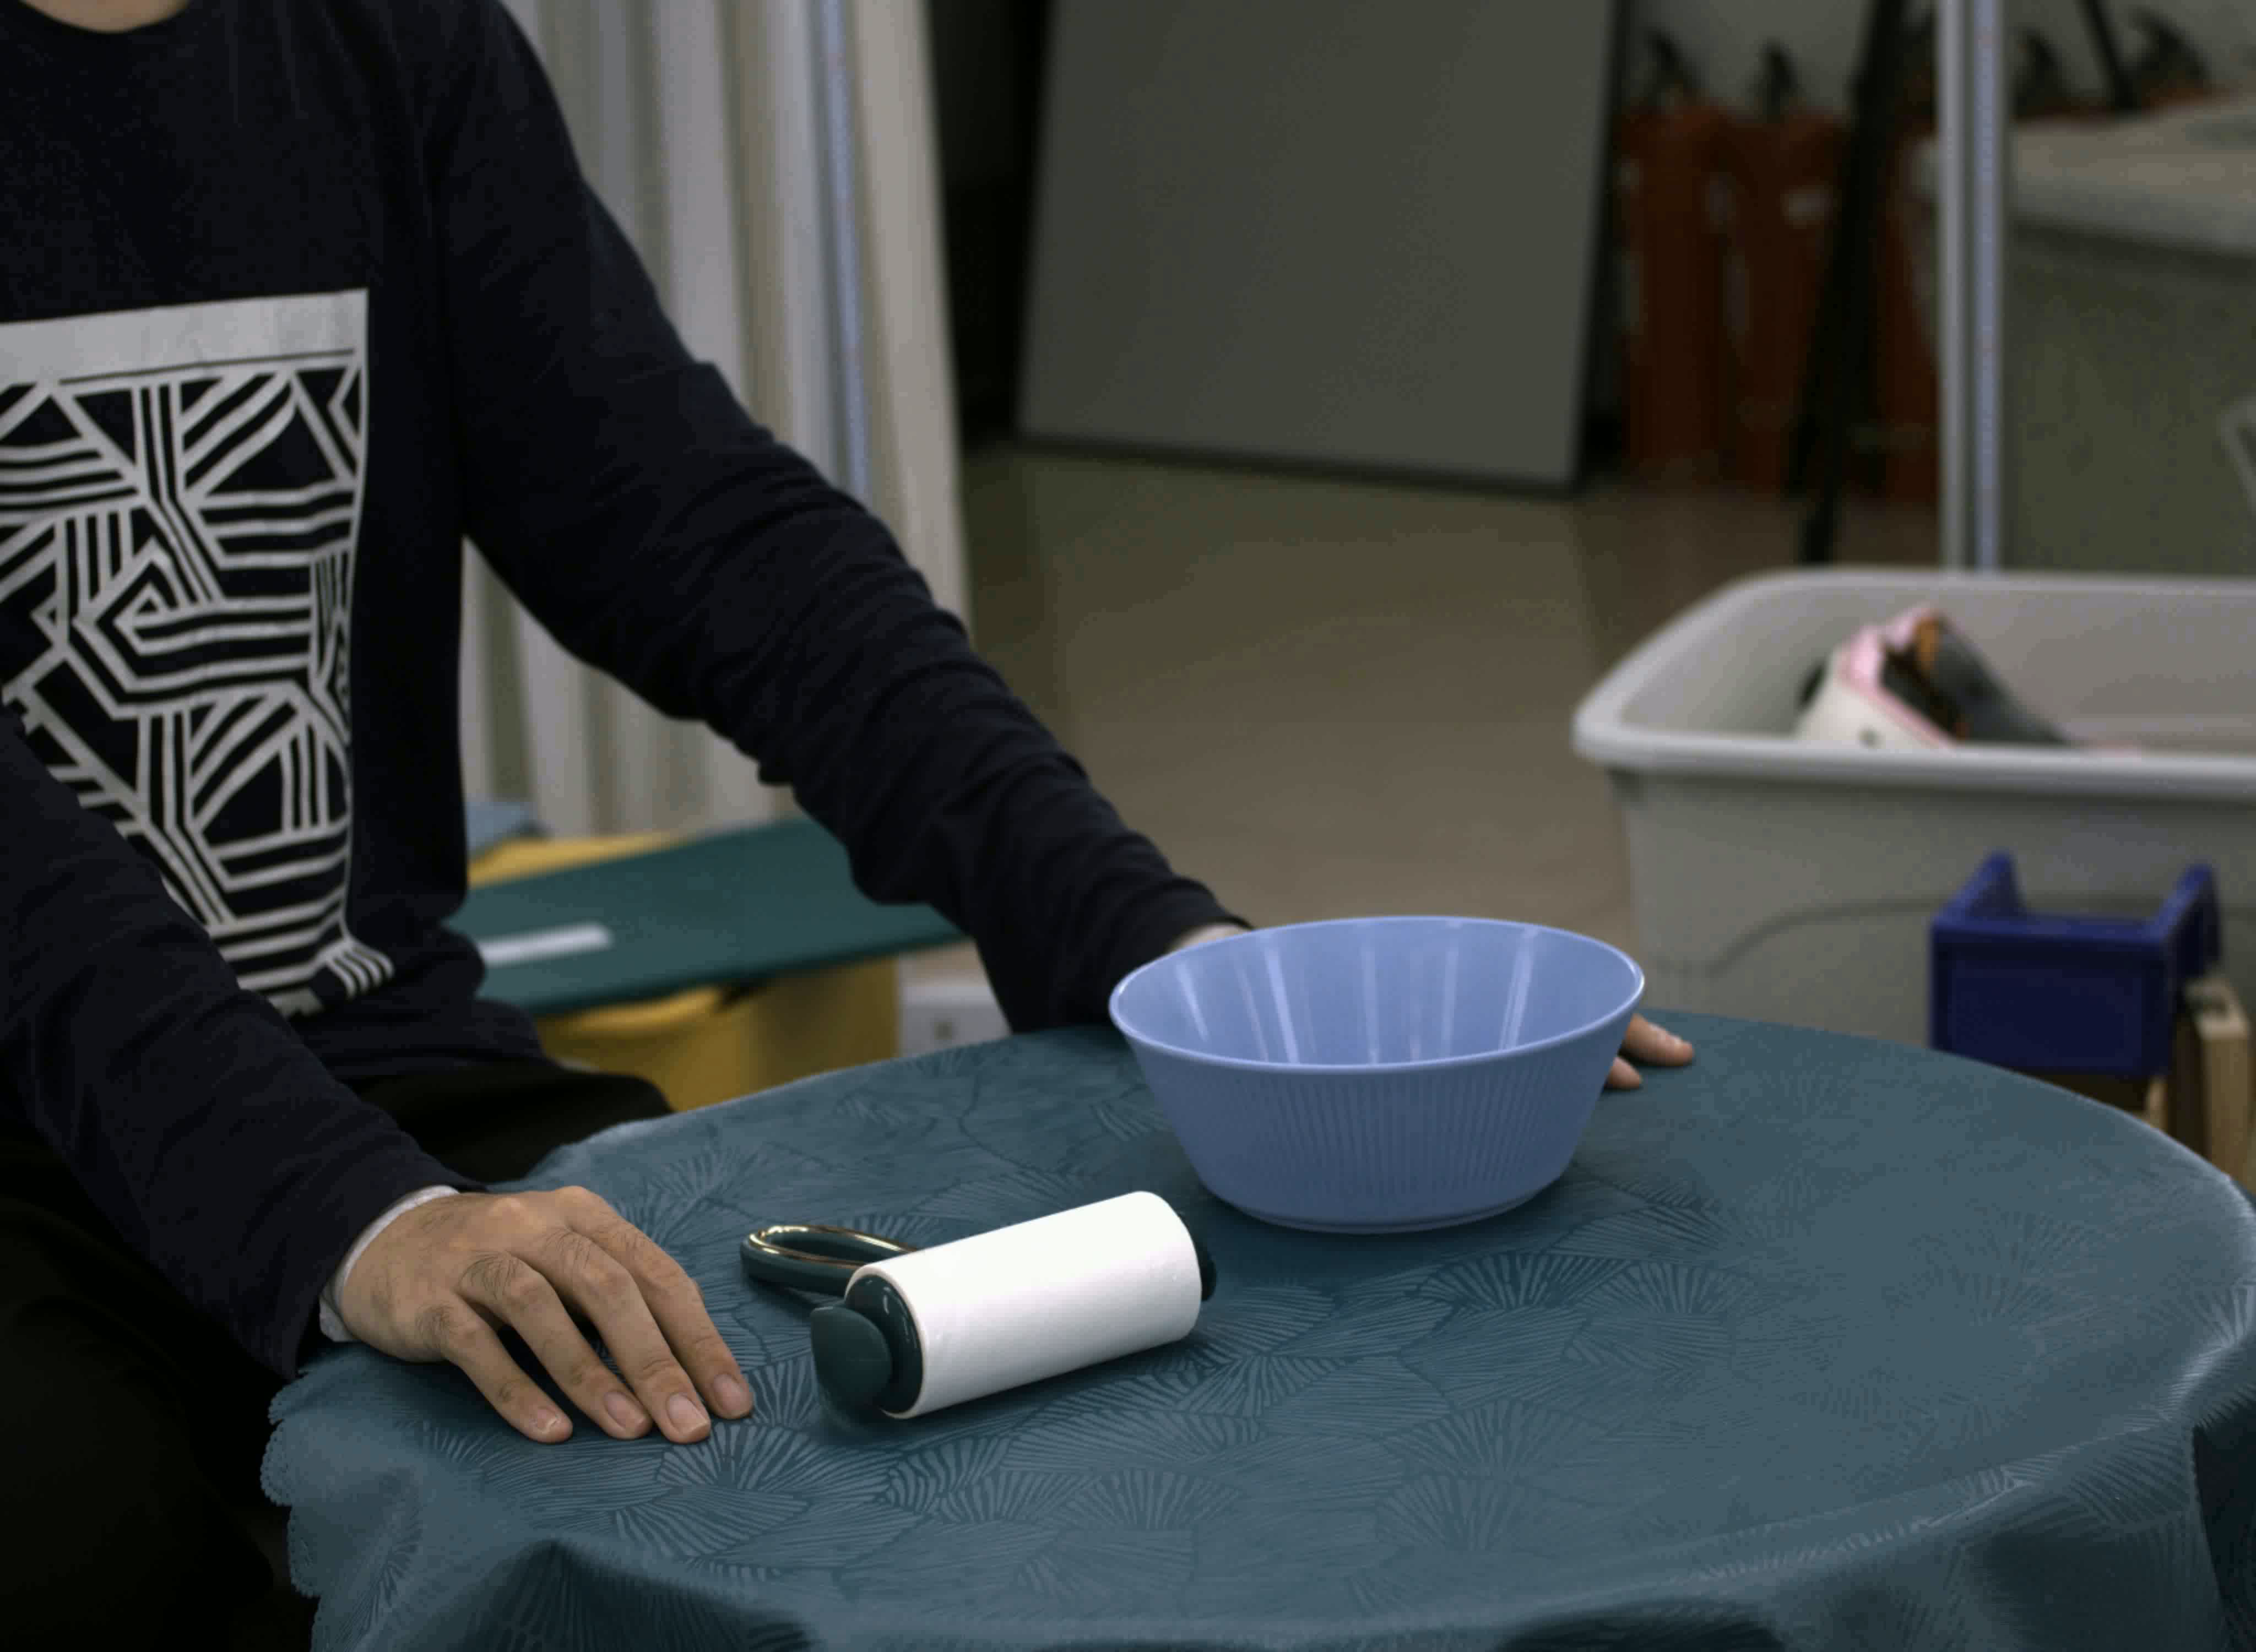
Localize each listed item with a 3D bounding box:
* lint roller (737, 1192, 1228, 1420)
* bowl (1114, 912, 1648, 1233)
[{"bbox_3d":[-0.069,0.136,1.653,0.131,0.049,0.182,-12,12,-33],"label":"lint roller"},{"bbox_3d":[0.084,0.083,1.755,0.174,0.071,0.176,-4,13,0],"label":"bowl"}]
